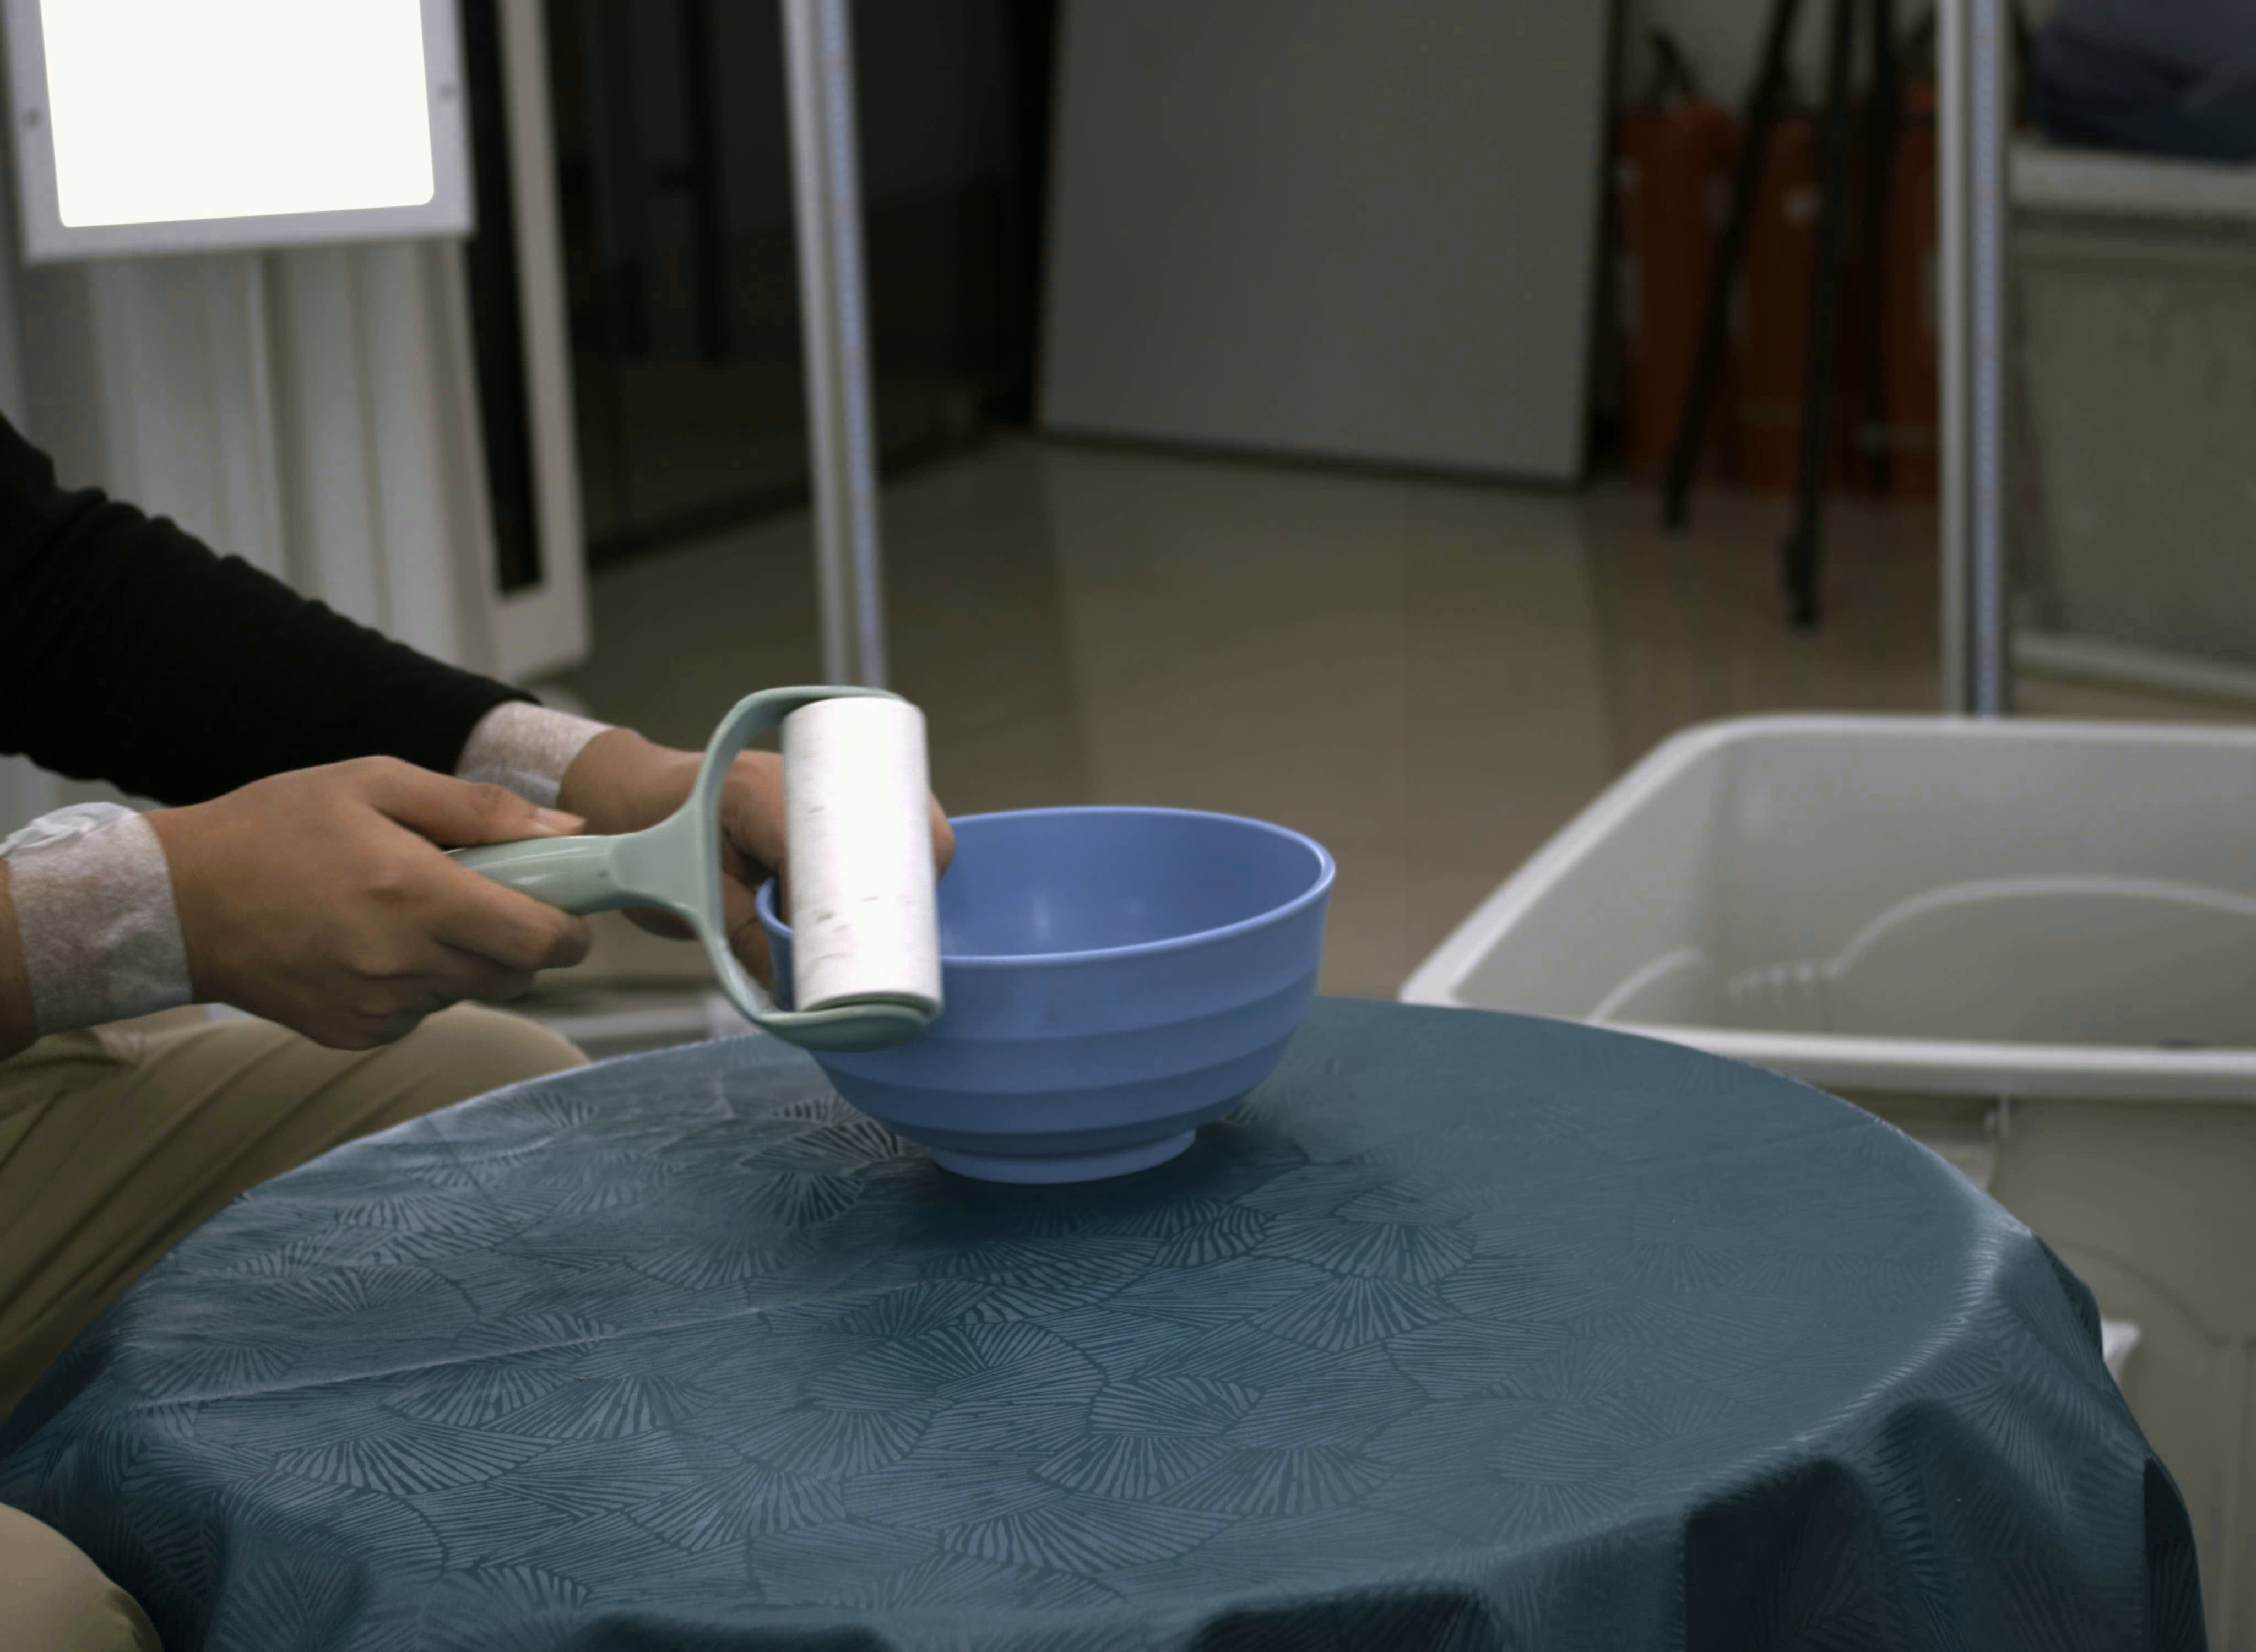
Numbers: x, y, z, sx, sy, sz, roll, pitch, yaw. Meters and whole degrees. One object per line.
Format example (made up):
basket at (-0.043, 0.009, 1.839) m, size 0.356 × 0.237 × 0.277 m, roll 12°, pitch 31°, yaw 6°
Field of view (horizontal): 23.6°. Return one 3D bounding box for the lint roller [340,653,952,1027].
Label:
lint roller at (-0.156, 0.011, 1.716) m, size 0.195 × 0.118 × 0.048 m, roll -6°, pitch -19°, yaw 3°

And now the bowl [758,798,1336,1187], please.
bowl at (-0.025, 0.062, 1.814) m, size 0.194 × 0.096 × 0.197 m, roll -4°, pitch 15°, yaw 0°
